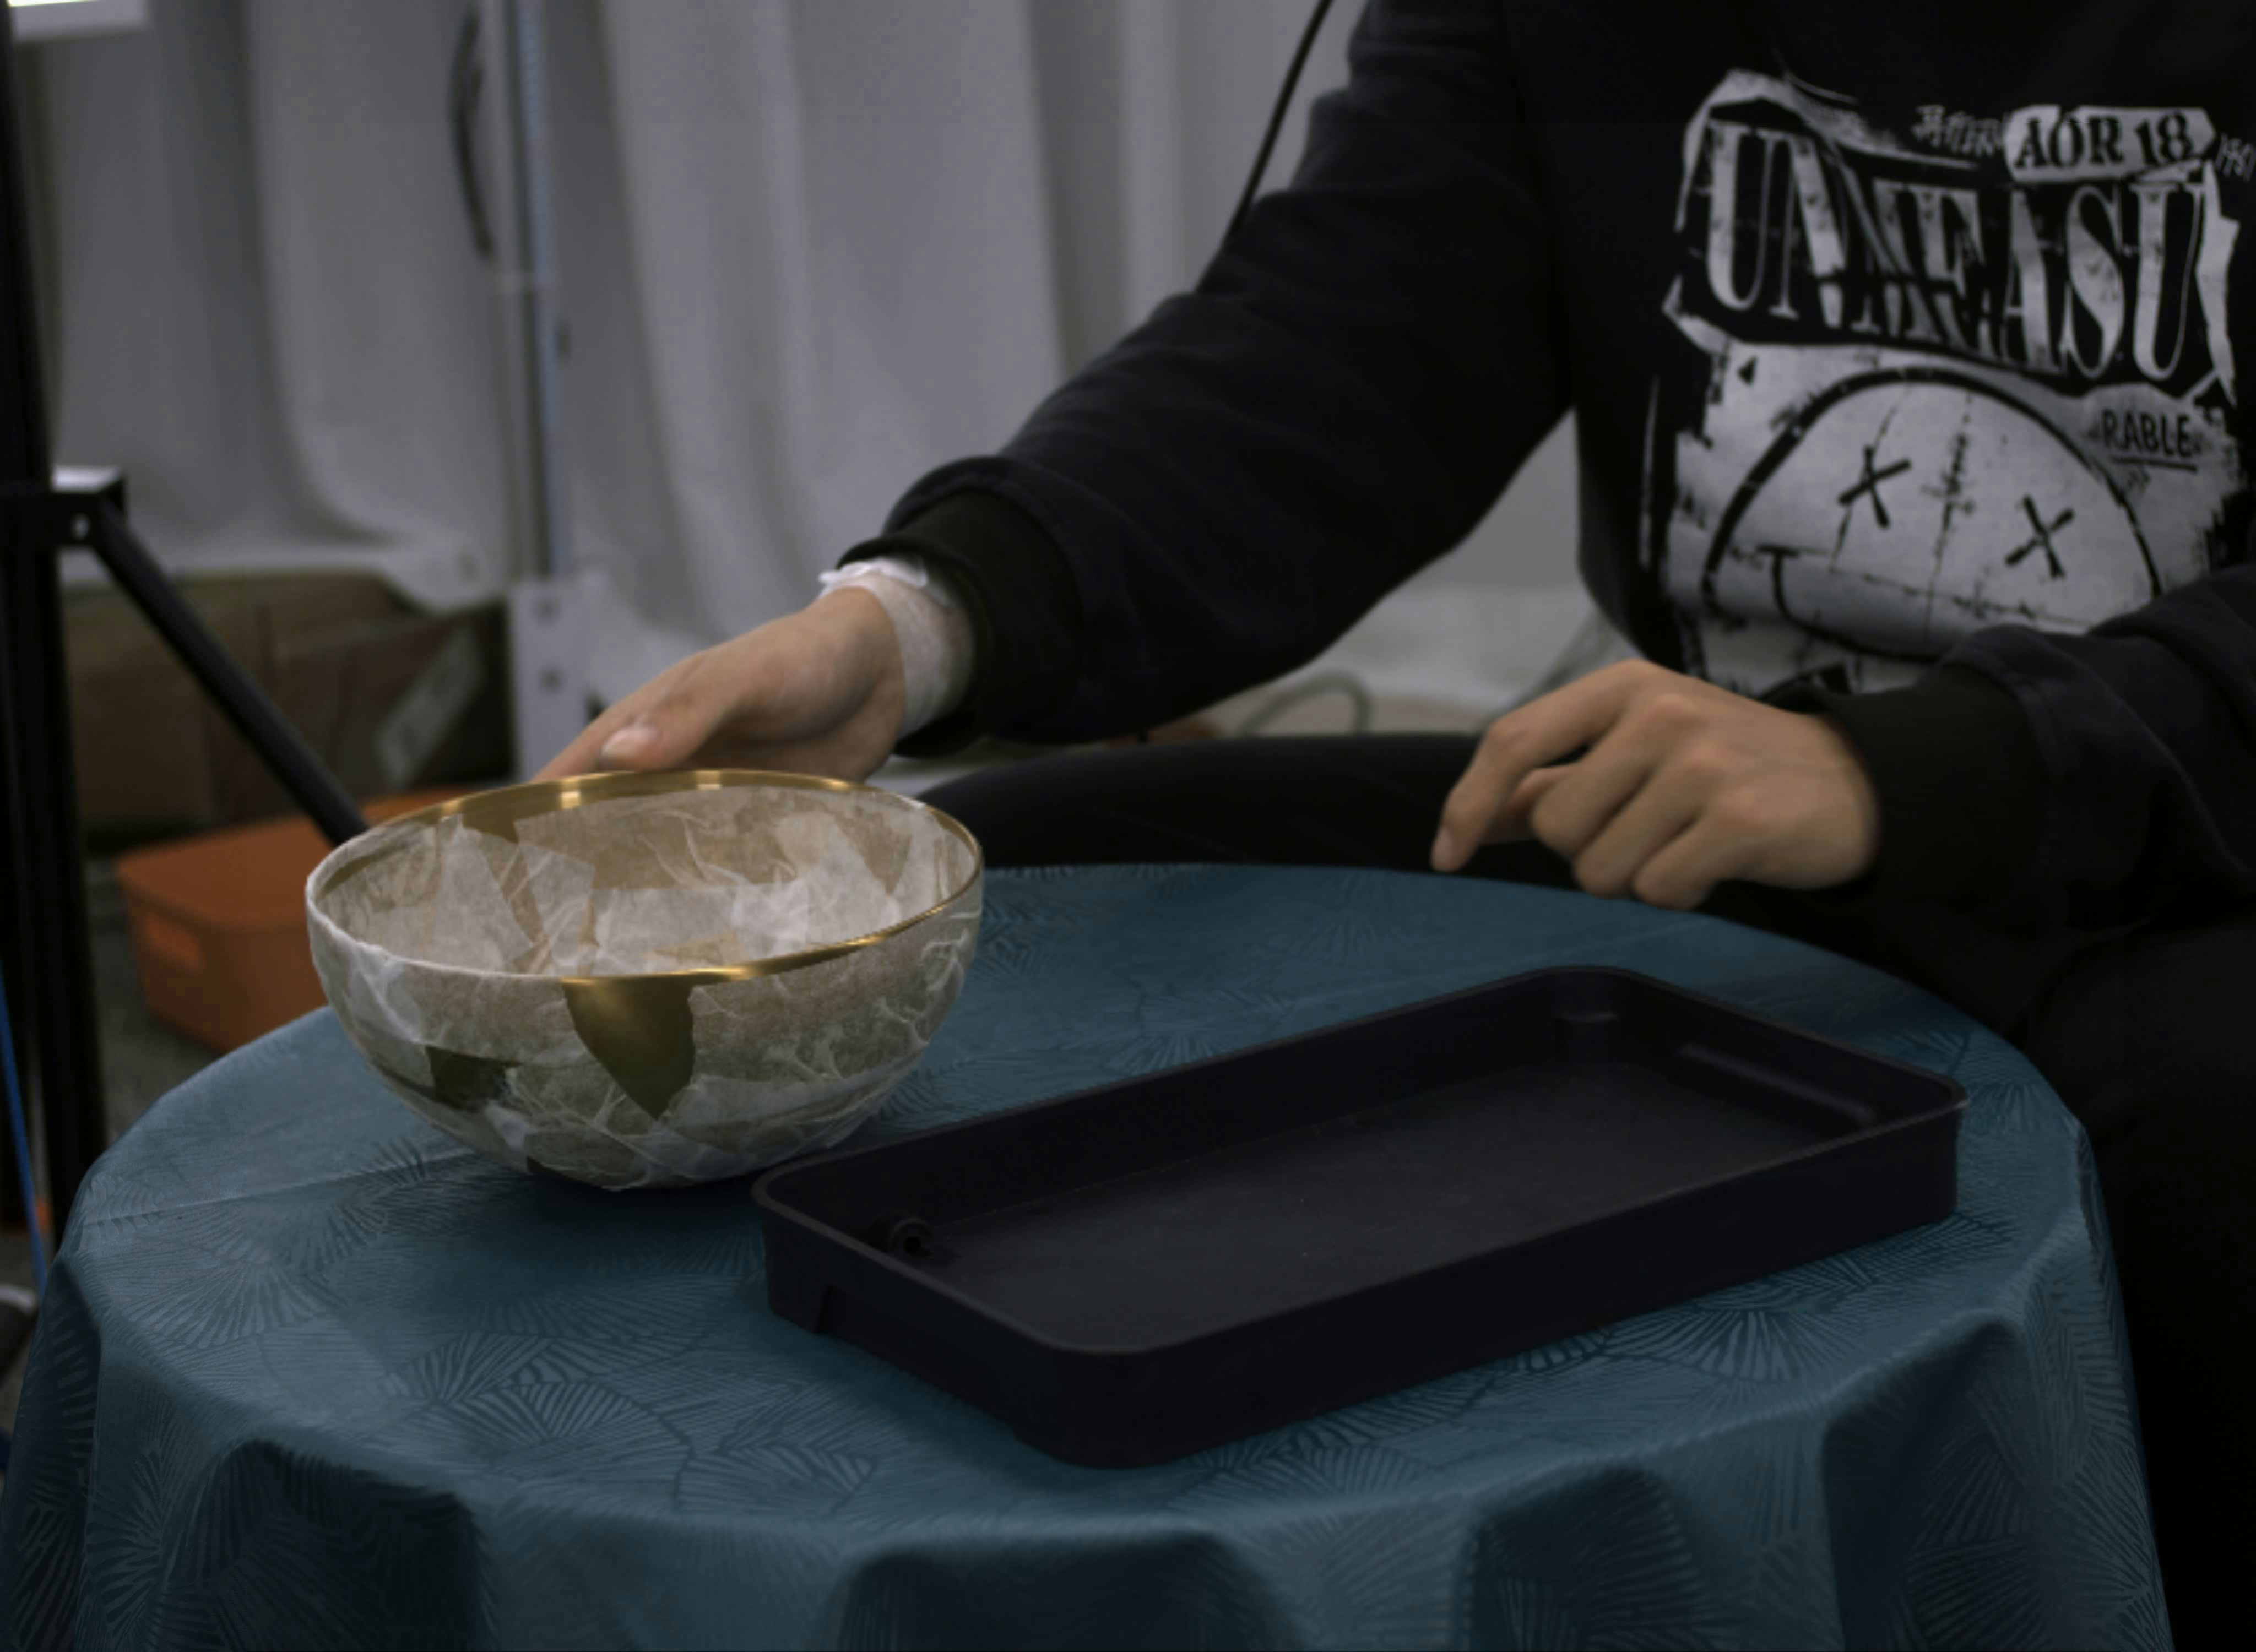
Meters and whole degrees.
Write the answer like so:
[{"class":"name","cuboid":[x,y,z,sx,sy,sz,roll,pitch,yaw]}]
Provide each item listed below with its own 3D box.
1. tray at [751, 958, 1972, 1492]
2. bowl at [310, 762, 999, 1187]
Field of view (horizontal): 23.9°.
[{"class":"tray","cuboid":[0.068,0.106,1.495,0.311,0.037,0.188,-14,20,-30]},{"class":"bowl","cuboid":[-0.138,0.054,1.601,0.213,0.094,0.216,-3,16,-1]}]
